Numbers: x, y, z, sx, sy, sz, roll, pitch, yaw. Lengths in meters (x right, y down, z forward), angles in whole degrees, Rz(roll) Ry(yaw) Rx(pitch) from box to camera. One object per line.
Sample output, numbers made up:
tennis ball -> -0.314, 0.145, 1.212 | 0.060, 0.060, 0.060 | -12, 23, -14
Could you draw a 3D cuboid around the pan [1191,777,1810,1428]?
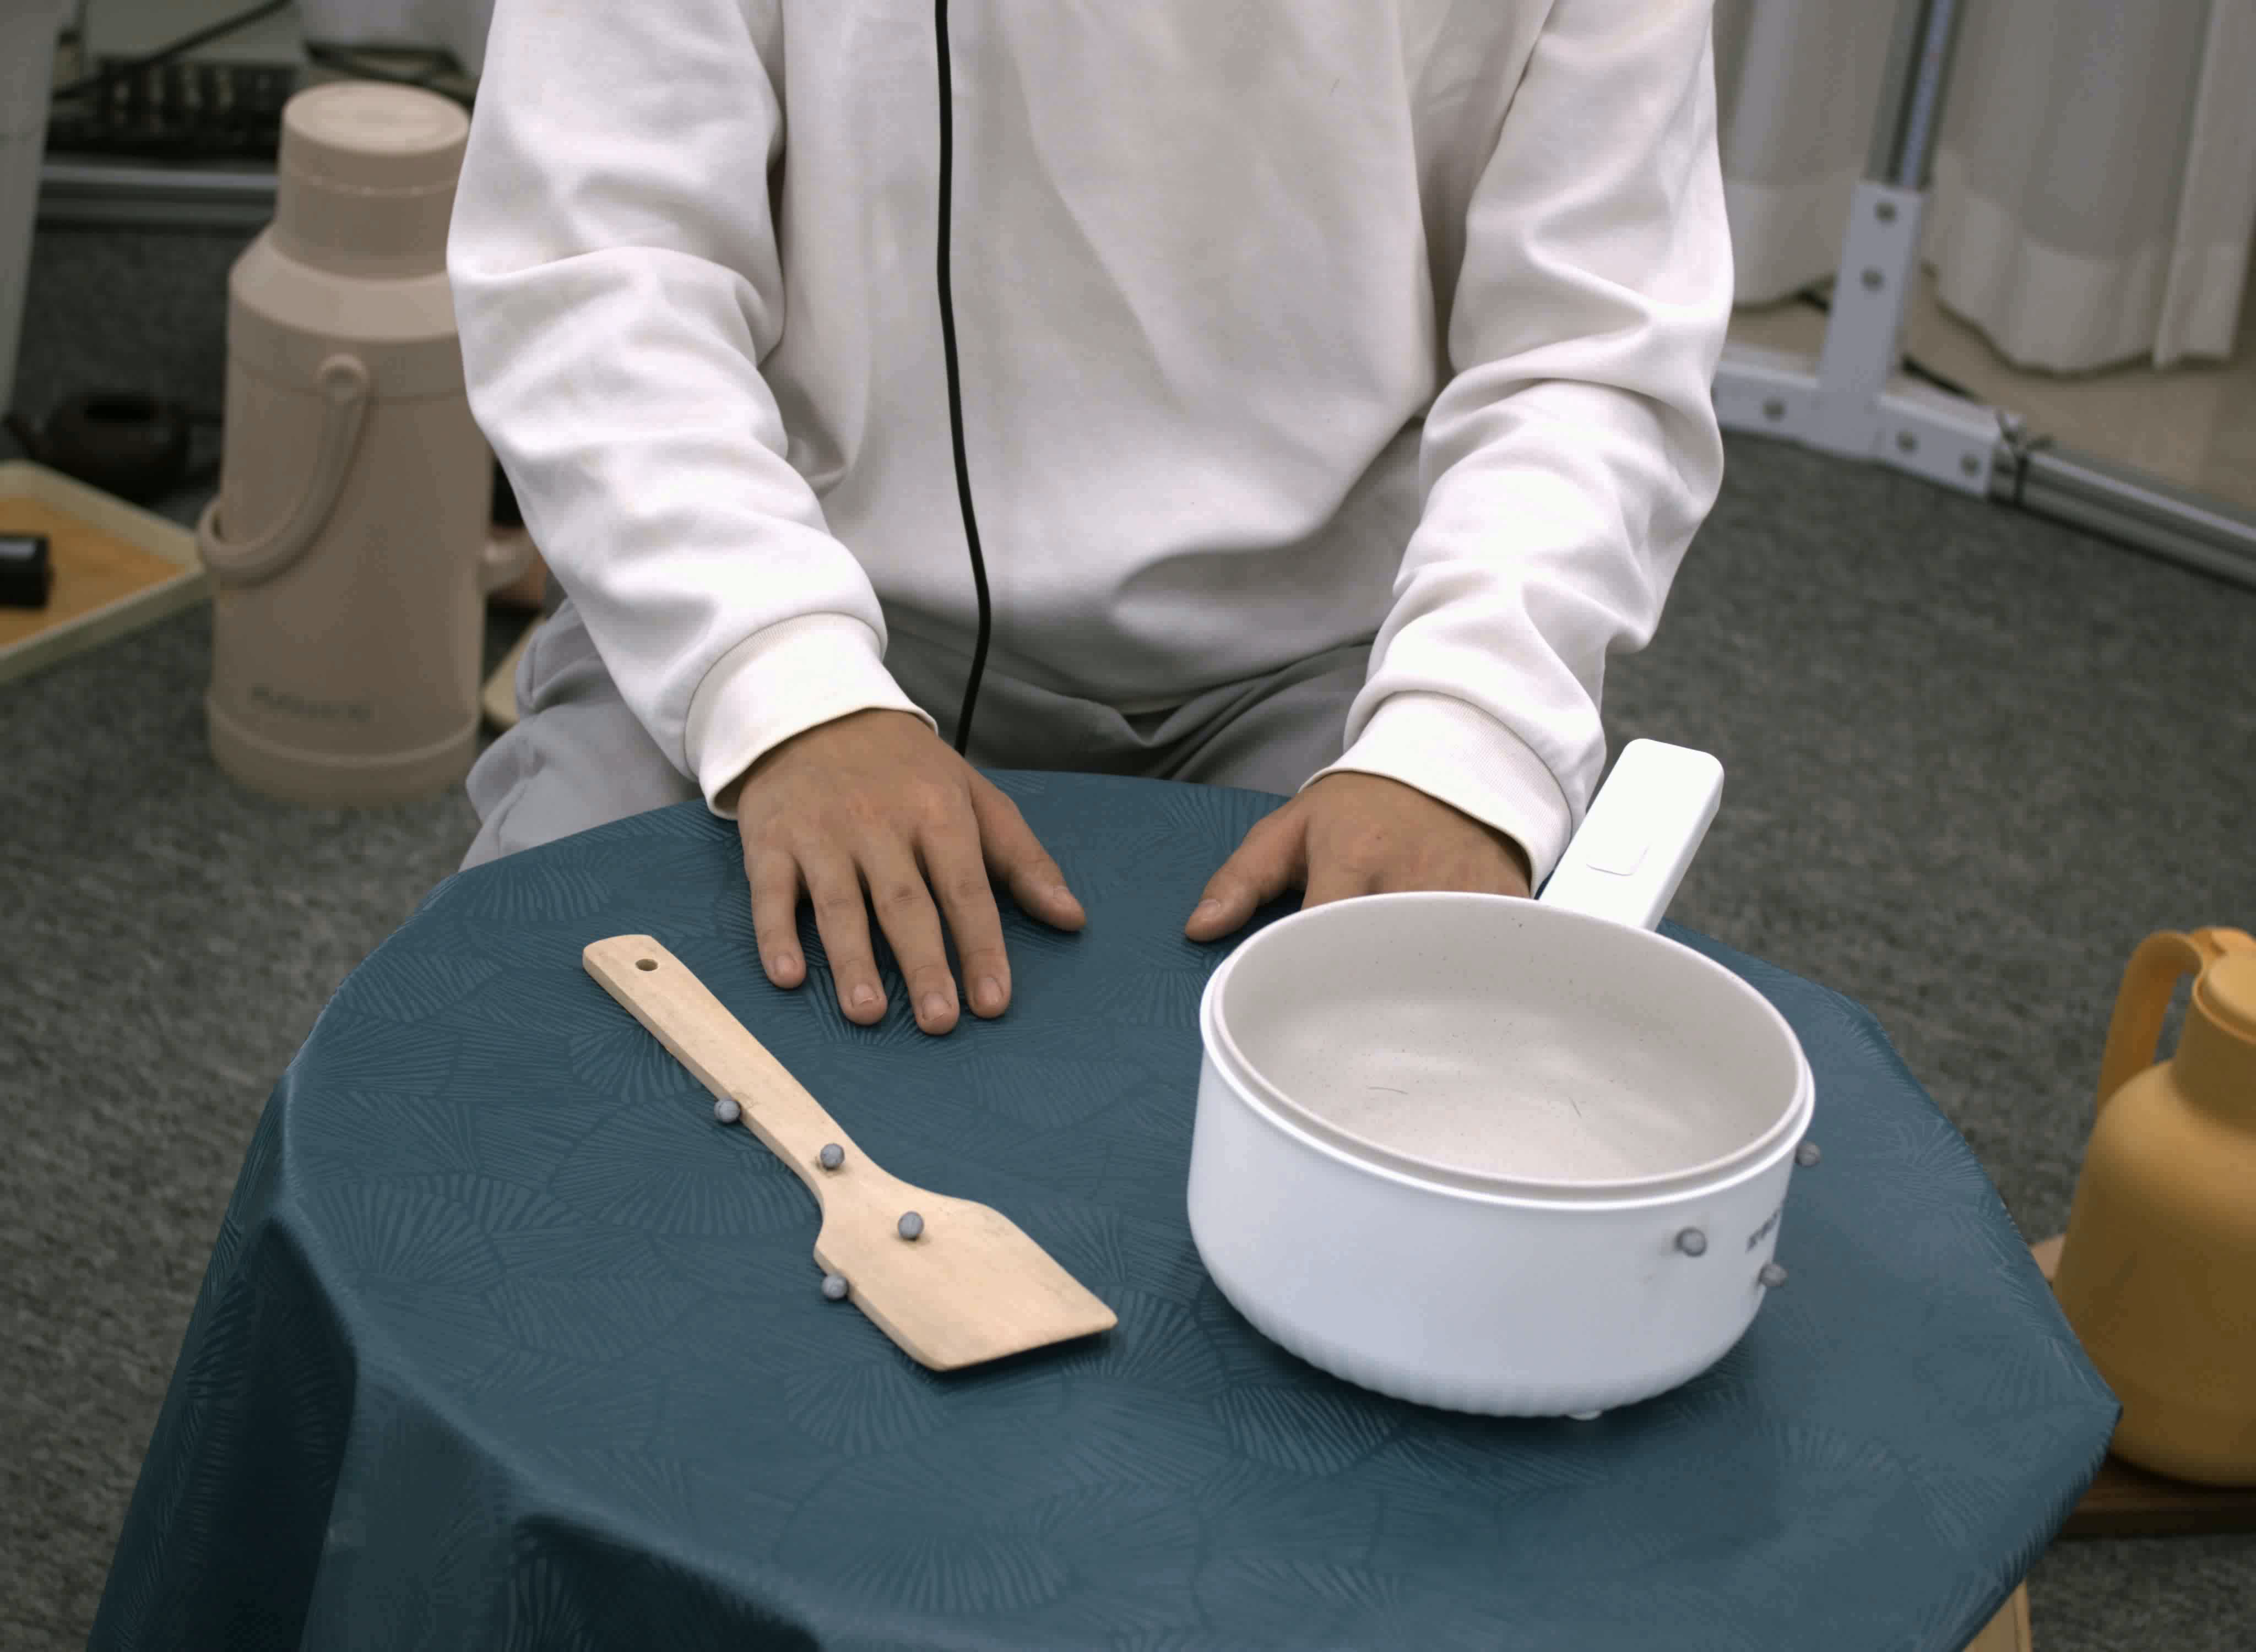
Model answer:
pan -> 0.141, 0.090, 1.817 | 0.201, 0.102, 0.355 | 10, 24, 15
